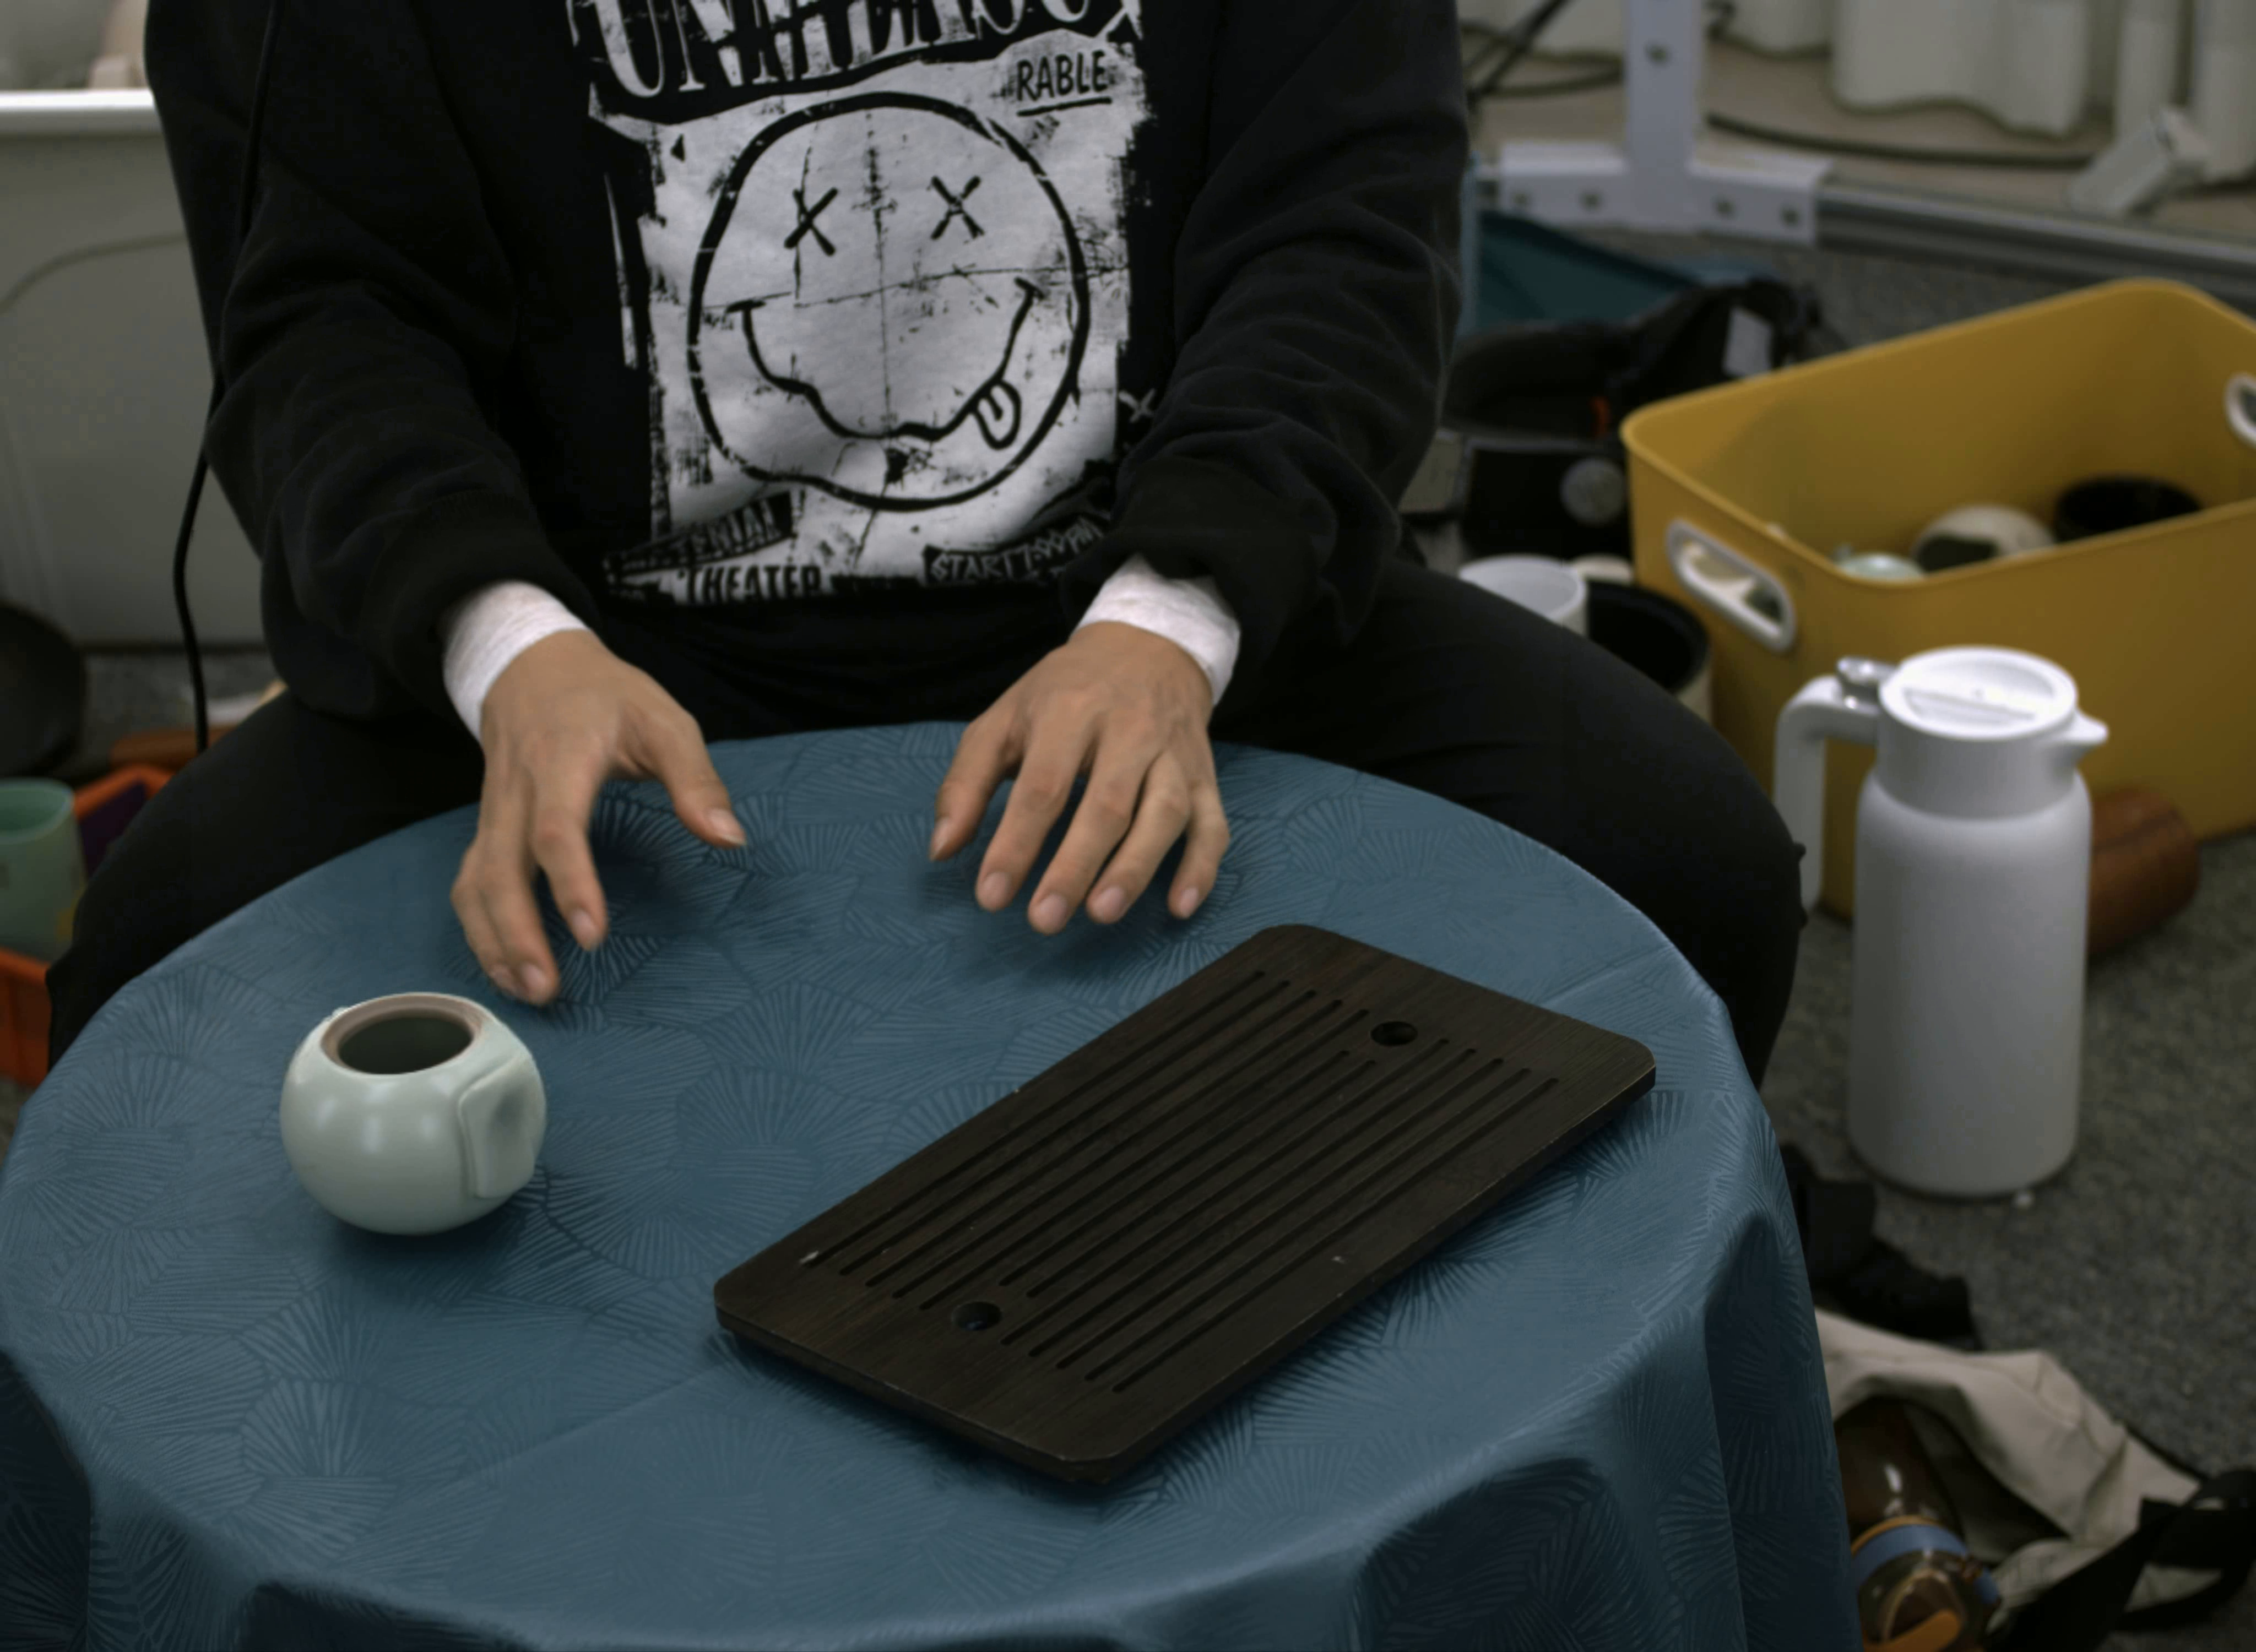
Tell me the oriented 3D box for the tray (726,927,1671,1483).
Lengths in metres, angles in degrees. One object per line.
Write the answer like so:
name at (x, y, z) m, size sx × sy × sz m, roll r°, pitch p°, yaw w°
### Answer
tray at (0.027, 0.121, 1.838) m, size 0.169 × 0.018 × 0.310 m, roll 19°, pitch 34°, yaw 36°

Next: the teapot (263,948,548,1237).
teapot at (-0.237, 0.094, 1.857) m, size 0.089 × 0.074 × 0.144 m, roll -25°, pitch 36°, yaw -37°
